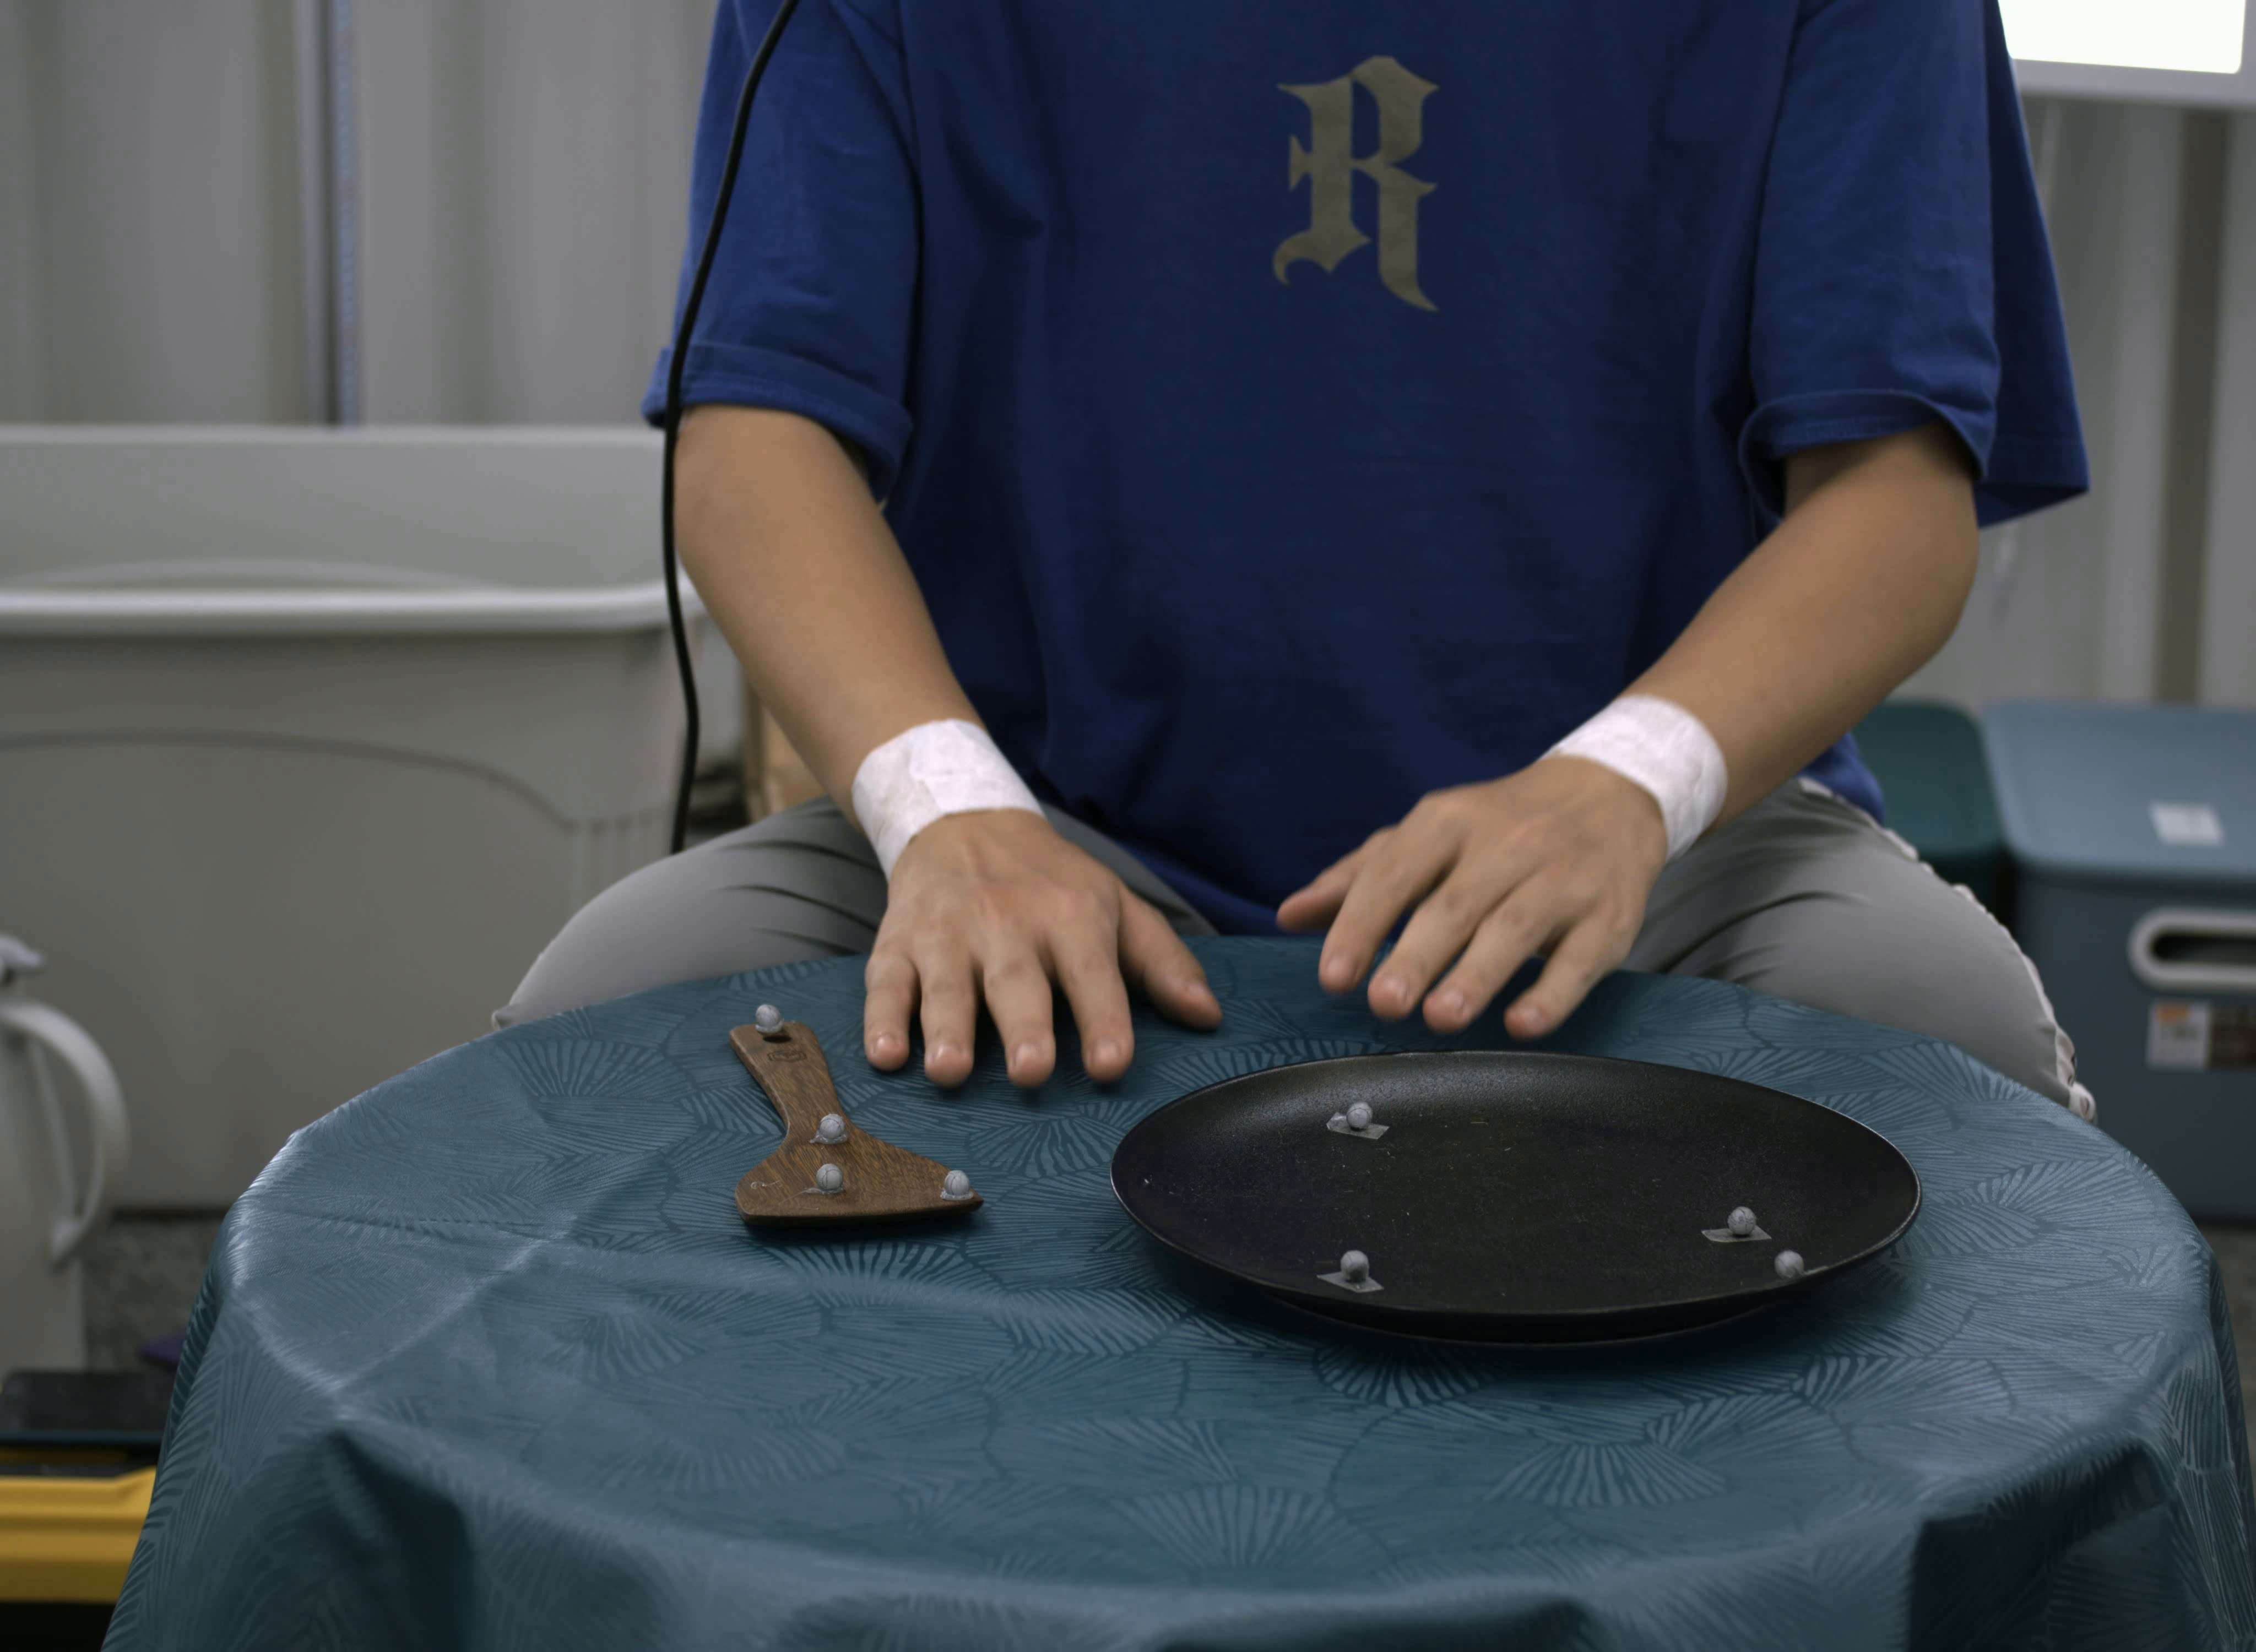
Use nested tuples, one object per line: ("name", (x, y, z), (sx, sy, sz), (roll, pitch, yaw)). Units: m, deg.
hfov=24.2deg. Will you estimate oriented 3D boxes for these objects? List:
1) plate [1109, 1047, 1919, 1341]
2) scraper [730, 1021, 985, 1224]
("plate", (0.115, 0.112, 1.582), (0.243, 0.023, 0.243), (1, 15, 0))
("scraper", (-0.099, 0.094, 1.670), (0.076, 0.011, 0.209), (-2, 15, -12))
